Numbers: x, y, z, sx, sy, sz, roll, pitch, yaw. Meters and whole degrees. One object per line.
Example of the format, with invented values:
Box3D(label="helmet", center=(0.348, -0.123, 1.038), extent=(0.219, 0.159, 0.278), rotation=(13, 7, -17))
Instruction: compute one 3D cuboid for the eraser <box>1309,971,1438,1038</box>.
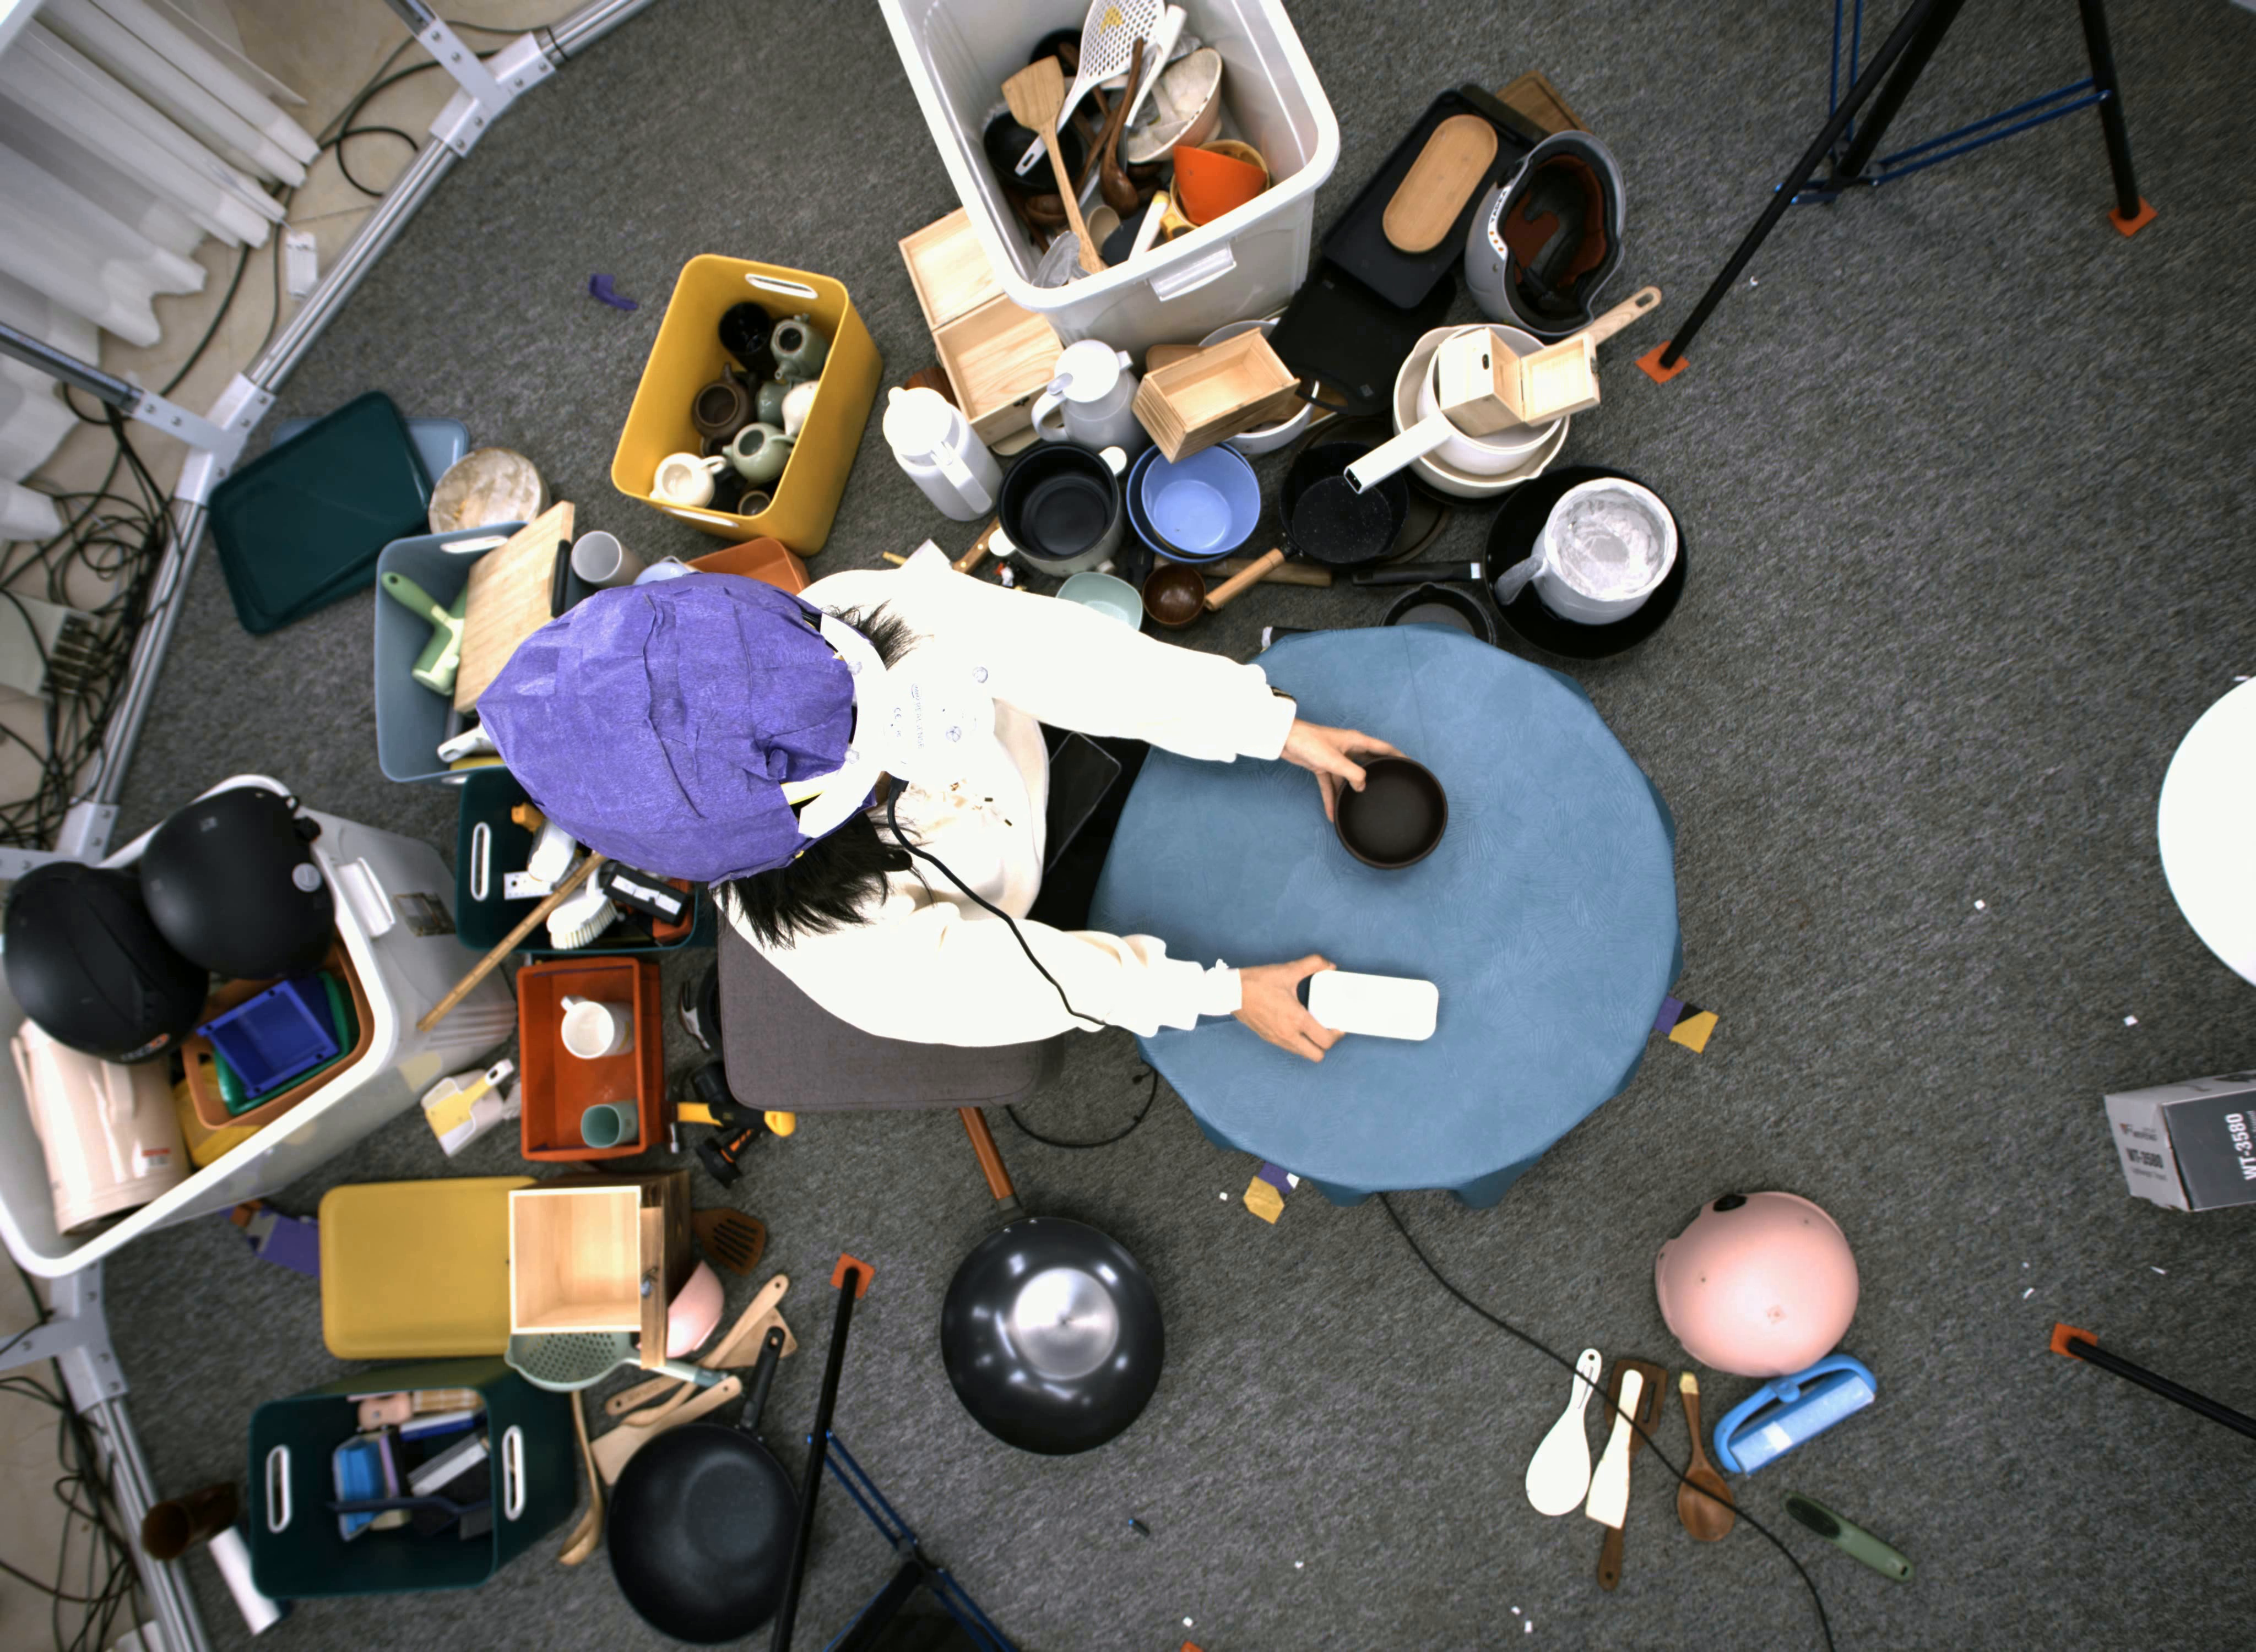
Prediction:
Box3D(label="eraser", center=(0.255, 0.182, 1.440), extent=(0.131, 0.034, 0.063), rotation=(4, 91, 10))

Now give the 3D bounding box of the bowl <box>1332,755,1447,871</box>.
Box3D(label="bowl", center=(0.270, -0.012, 1.428), extent=(0.118, 0.070, 0.117), rotation=(-1, 84, 11))
